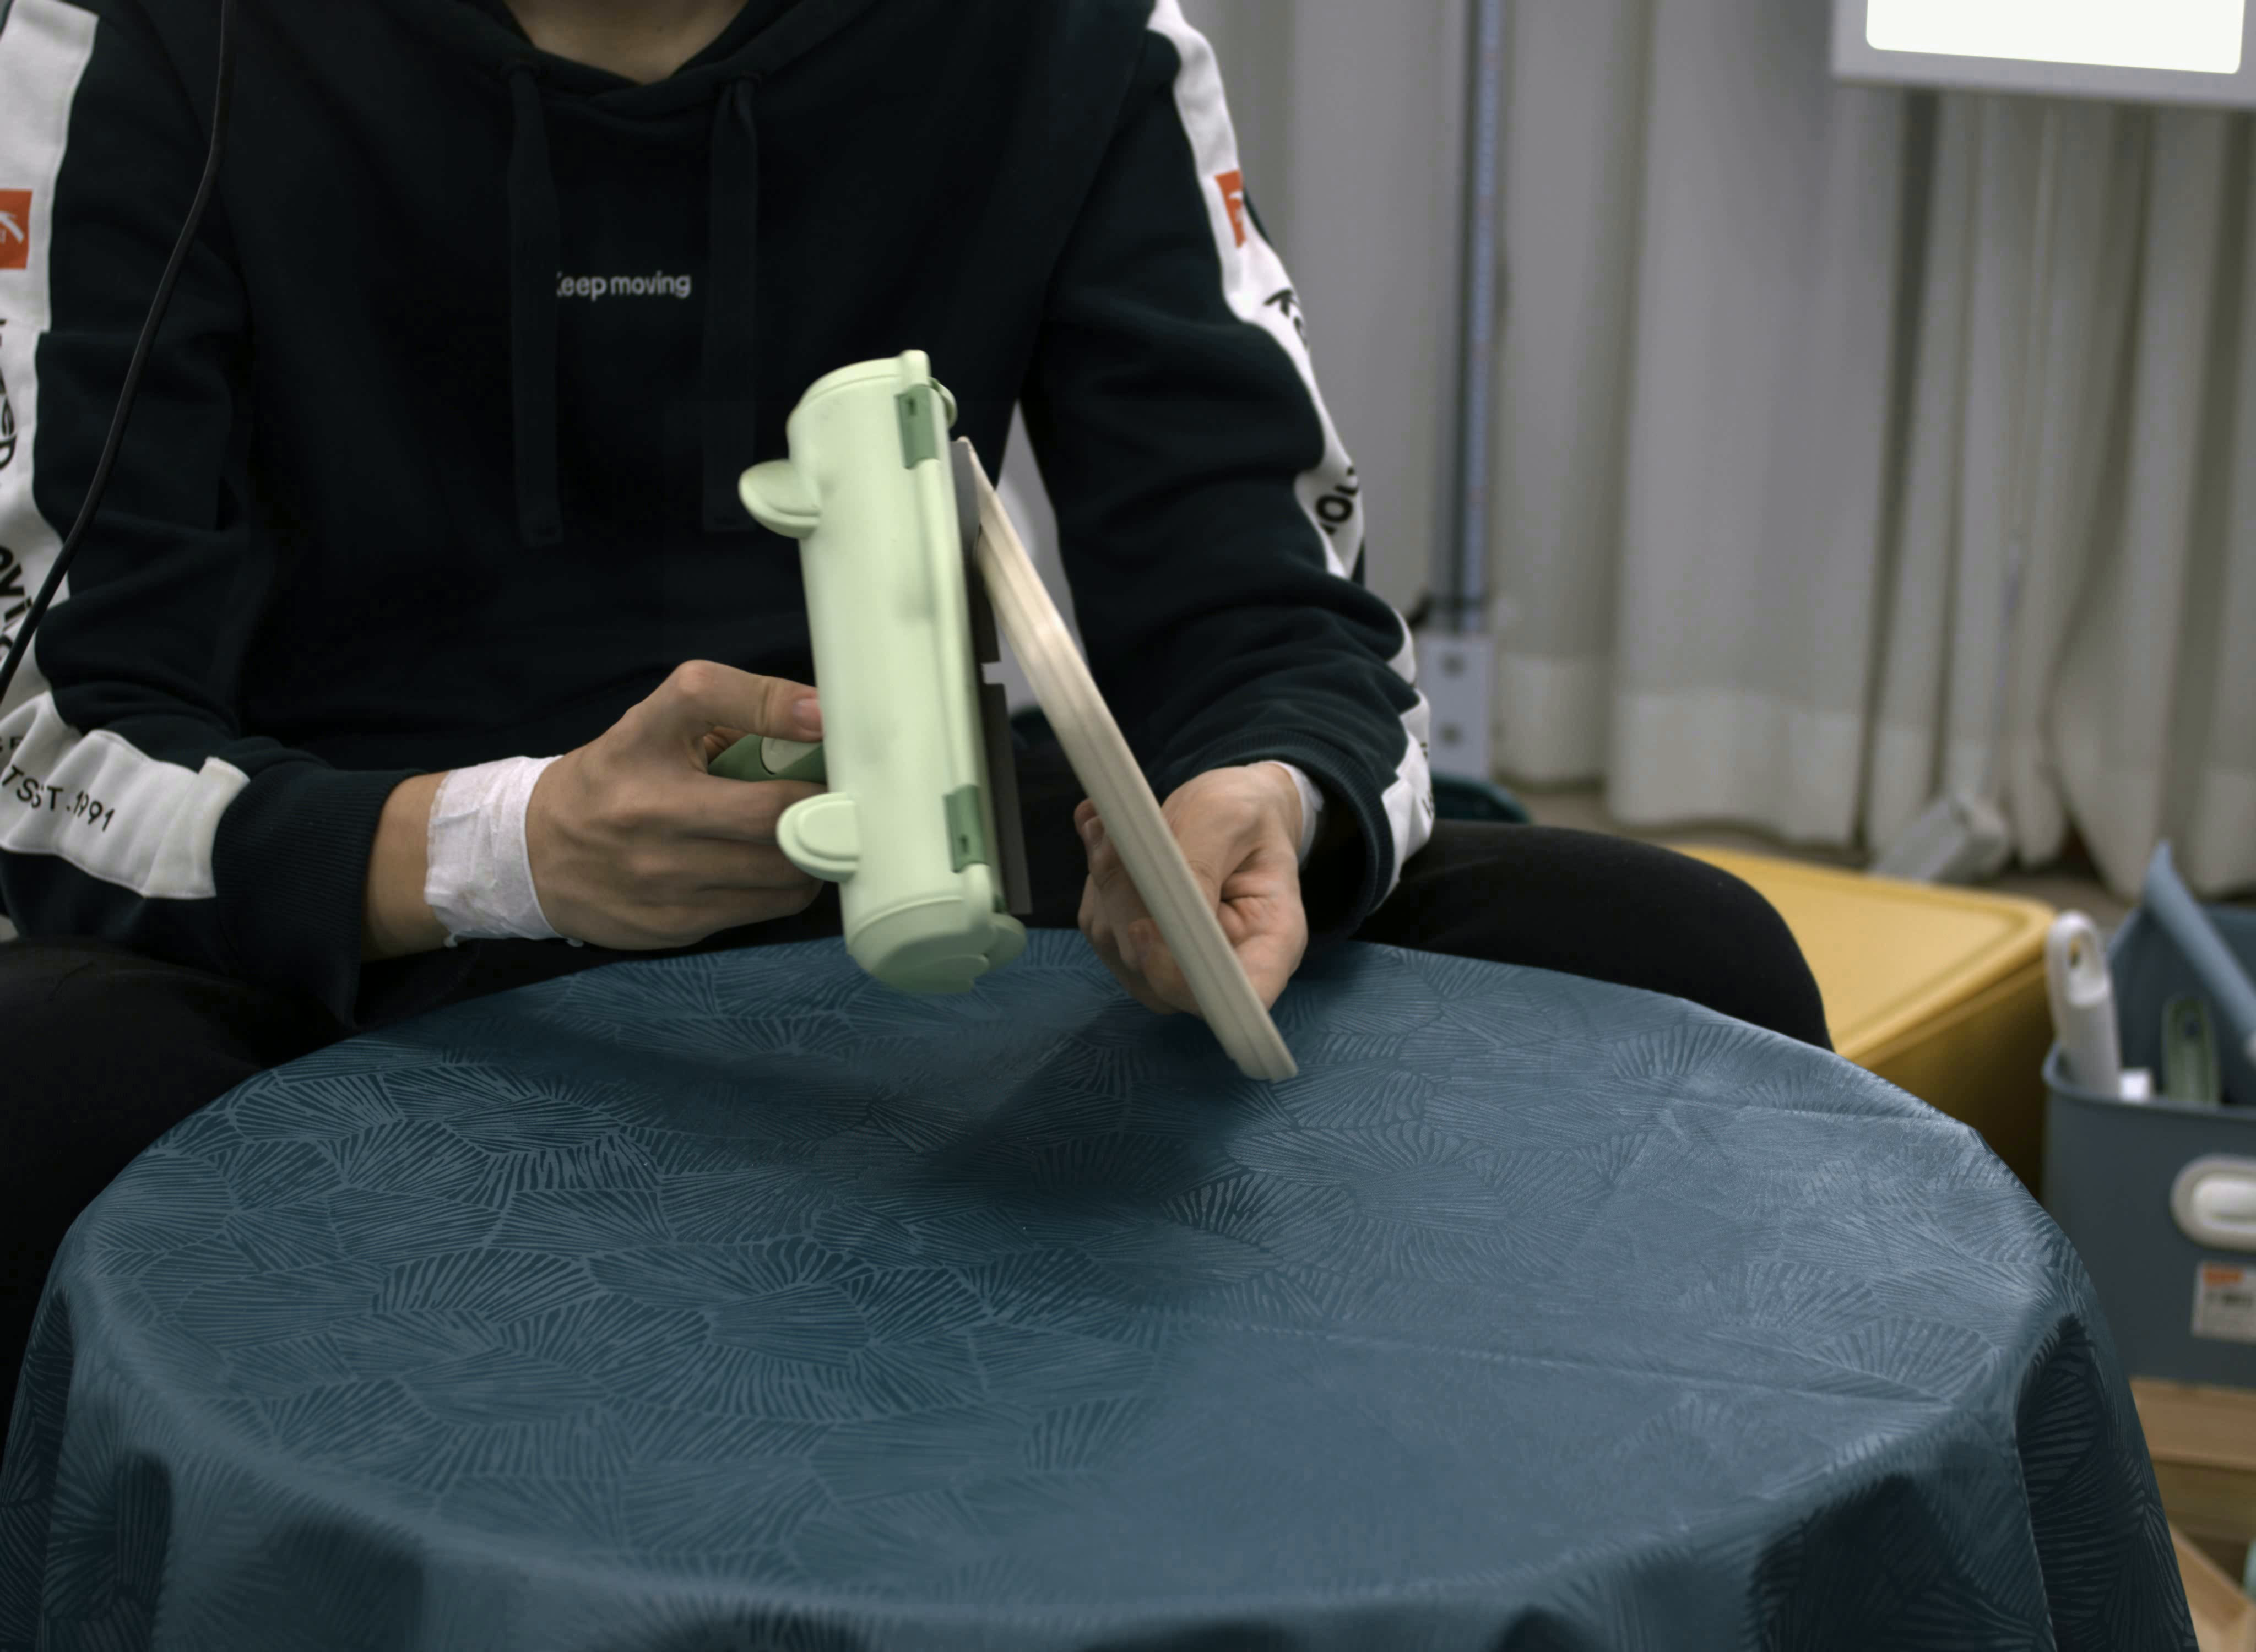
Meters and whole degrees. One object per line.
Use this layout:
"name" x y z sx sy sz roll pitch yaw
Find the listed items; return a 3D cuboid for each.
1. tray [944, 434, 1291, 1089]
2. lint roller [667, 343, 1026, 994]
"tray" -0.009 -0.022 1.650 0.017 0.173 0.237 -27 23 0
"lint roller" -0.110 -0.028 1.632 0.083 0.197 0.182 12 -30 -40
